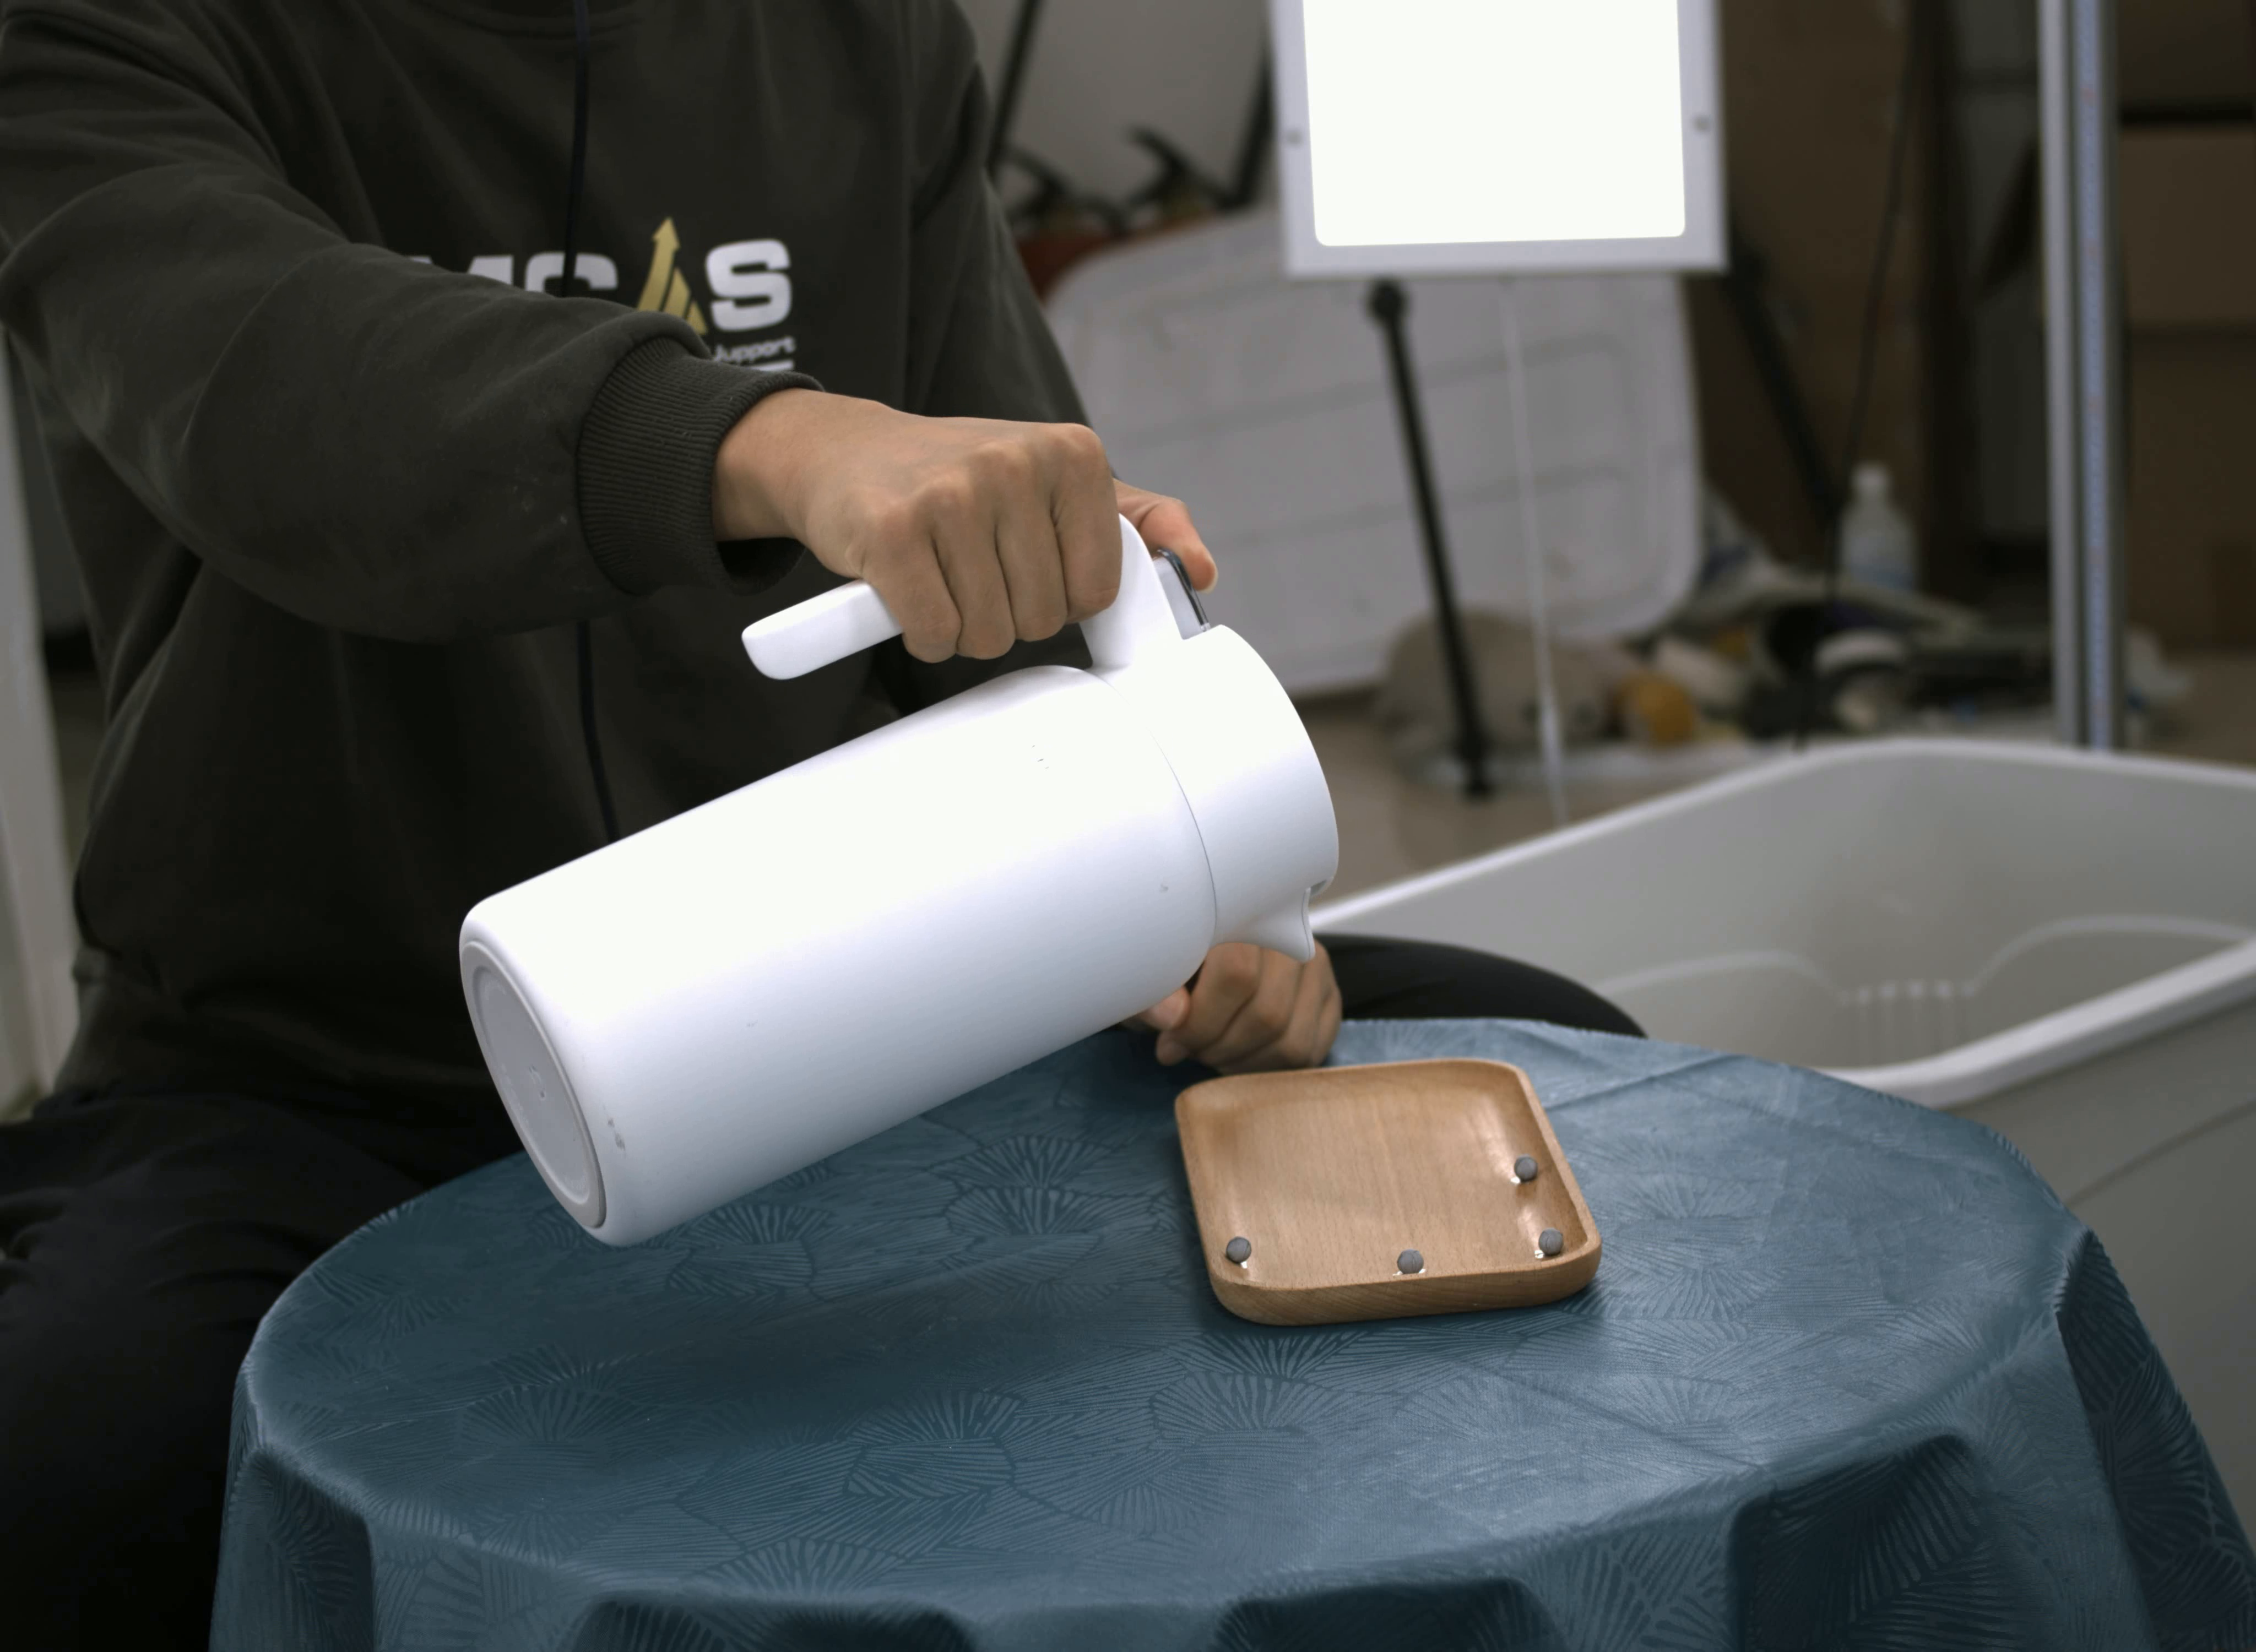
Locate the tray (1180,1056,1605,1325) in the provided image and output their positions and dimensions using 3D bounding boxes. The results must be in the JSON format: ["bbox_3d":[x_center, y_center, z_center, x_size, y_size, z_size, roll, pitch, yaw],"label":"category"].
[{"bbox_3d":[0.086,0.121,1.859,0.130,0.023,0.250,-3,12,0],"label":"tray"}]

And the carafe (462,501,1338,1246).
[{"bbox_3d":[-0.075,0.012,1.739,0.265,0.173,0.125,-24,11,-15],"label":"carafe"}]
